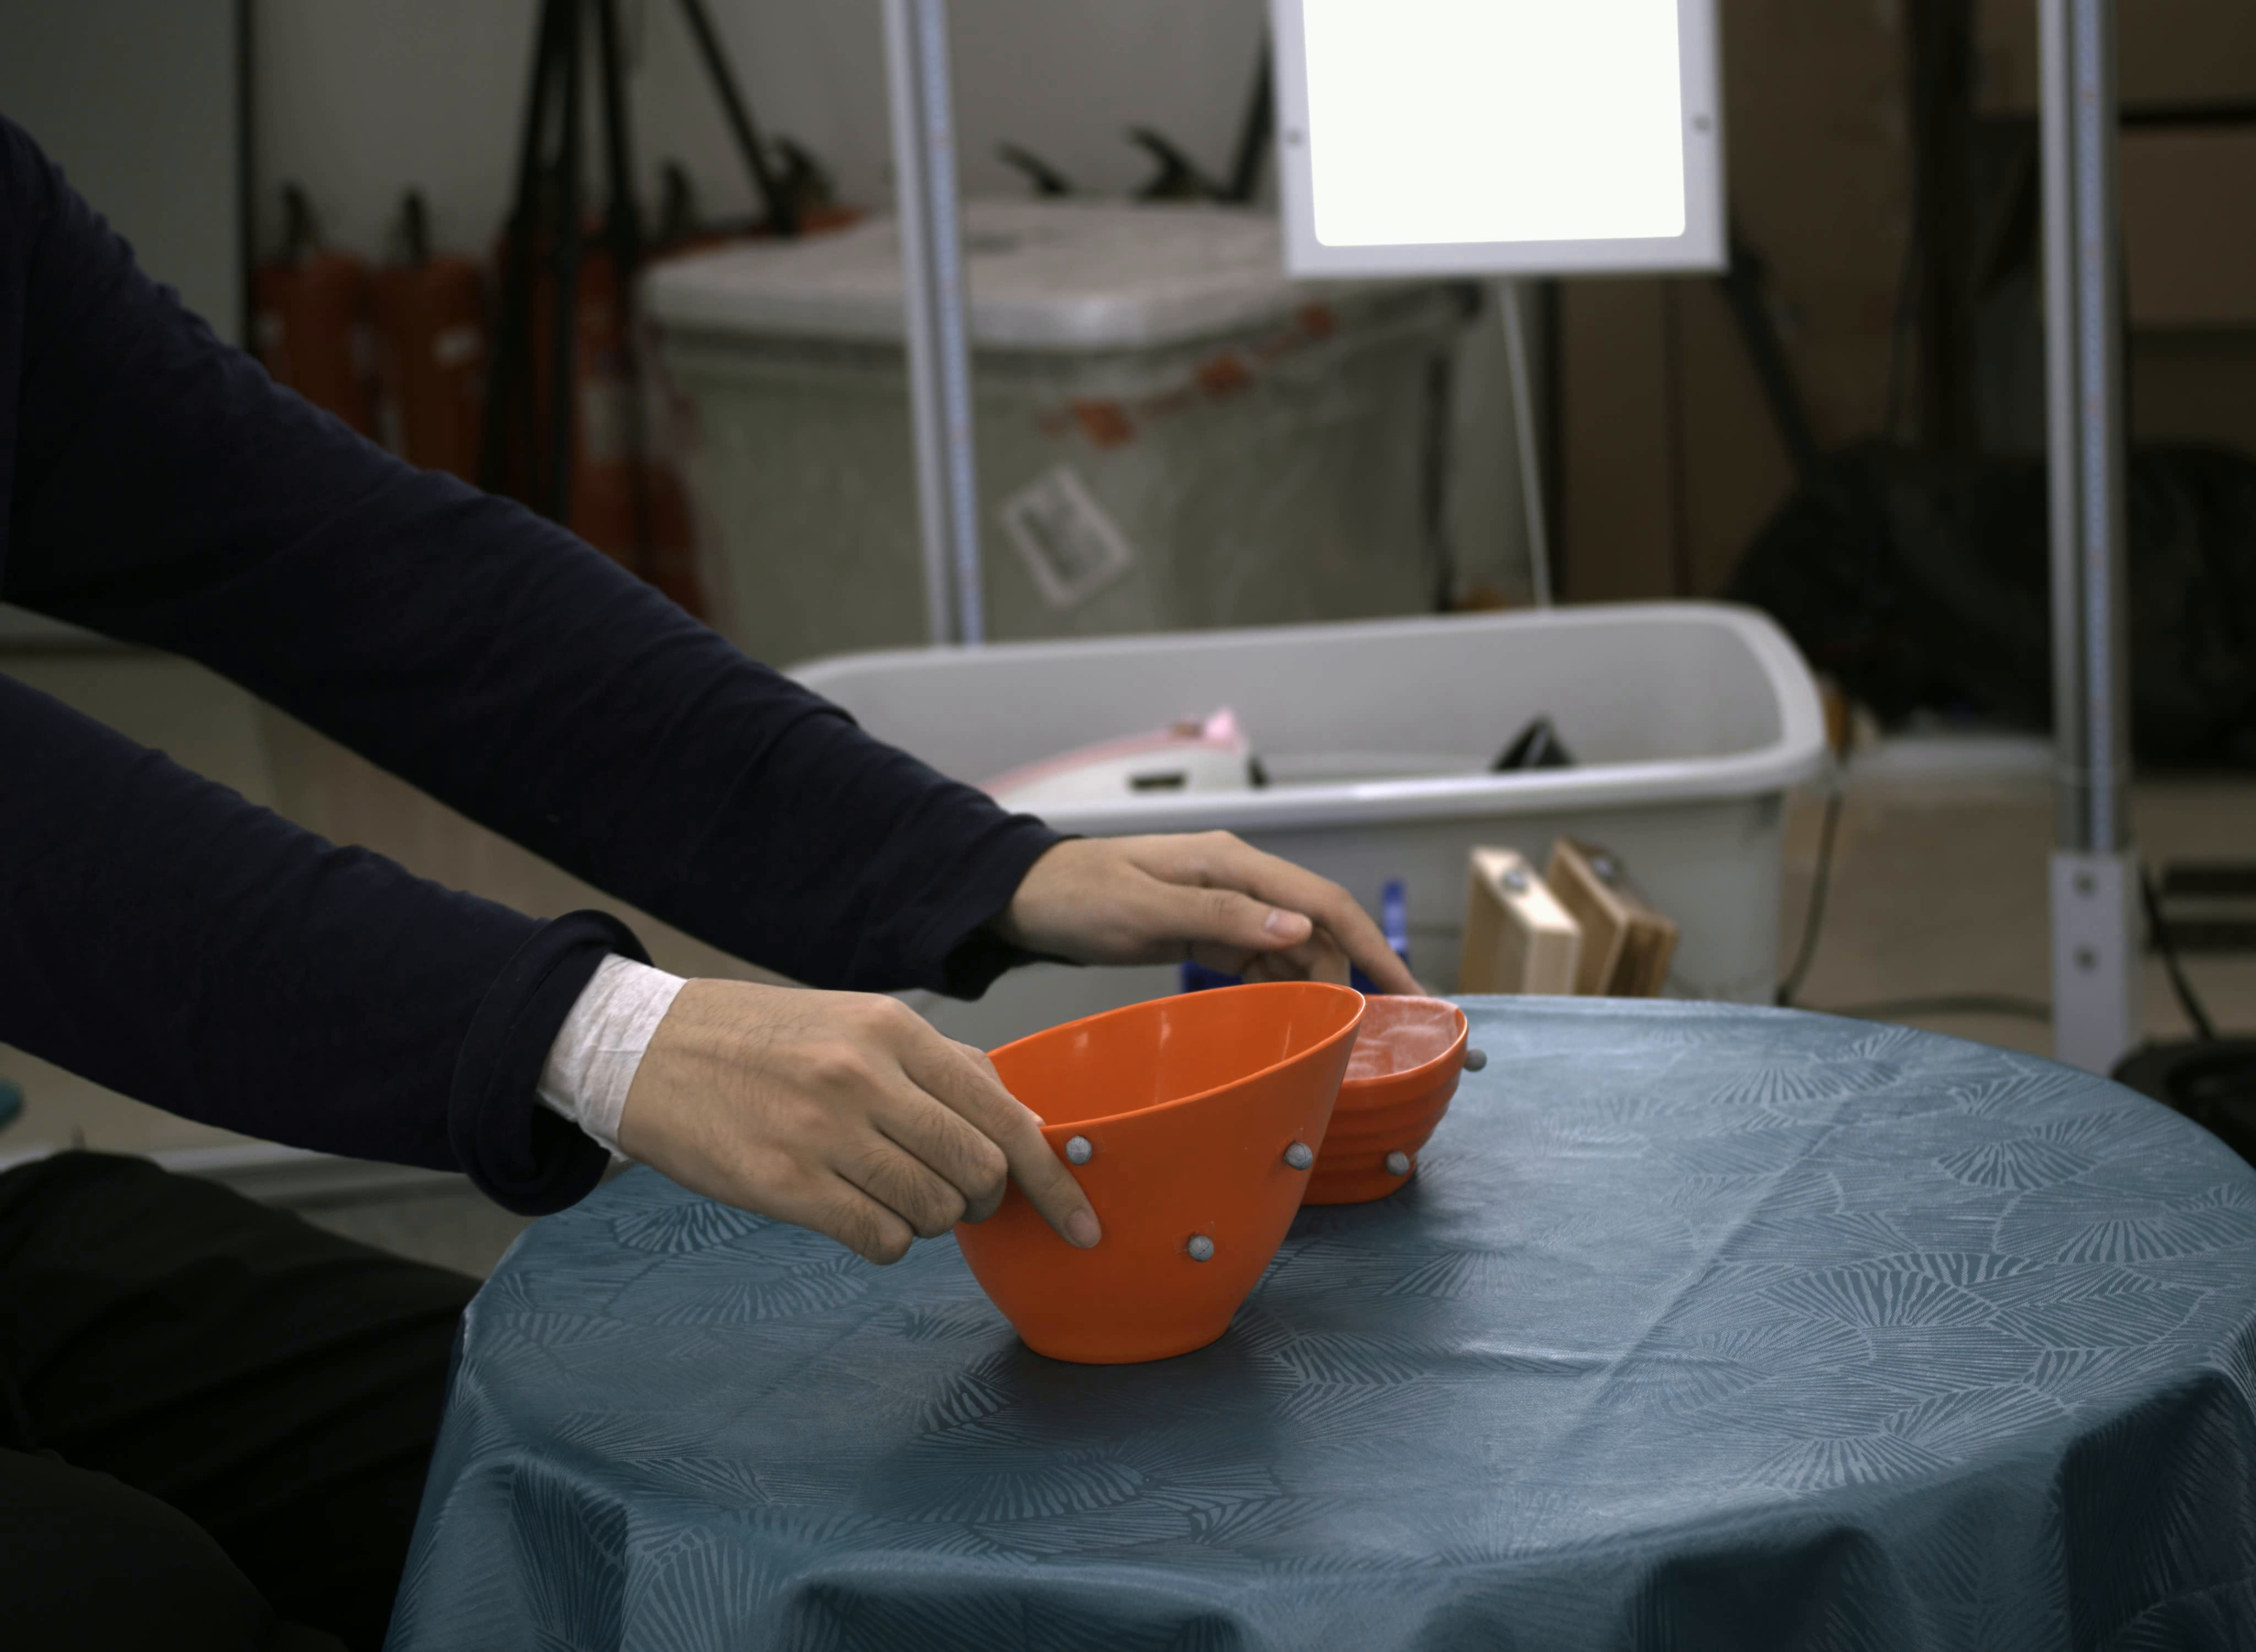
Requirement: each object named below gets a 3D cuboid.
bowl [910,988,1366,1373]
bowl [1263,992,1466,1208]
[{"bbox_3d":[0.006,0.114,1.744,0.147,0.105,0.148,-6,14,0],"label":"bowl"},{"bbox_3d":[0.064,0.097,1.897,0.118,0.051,0.119,-7,15,0],"label":"bowl"}]
